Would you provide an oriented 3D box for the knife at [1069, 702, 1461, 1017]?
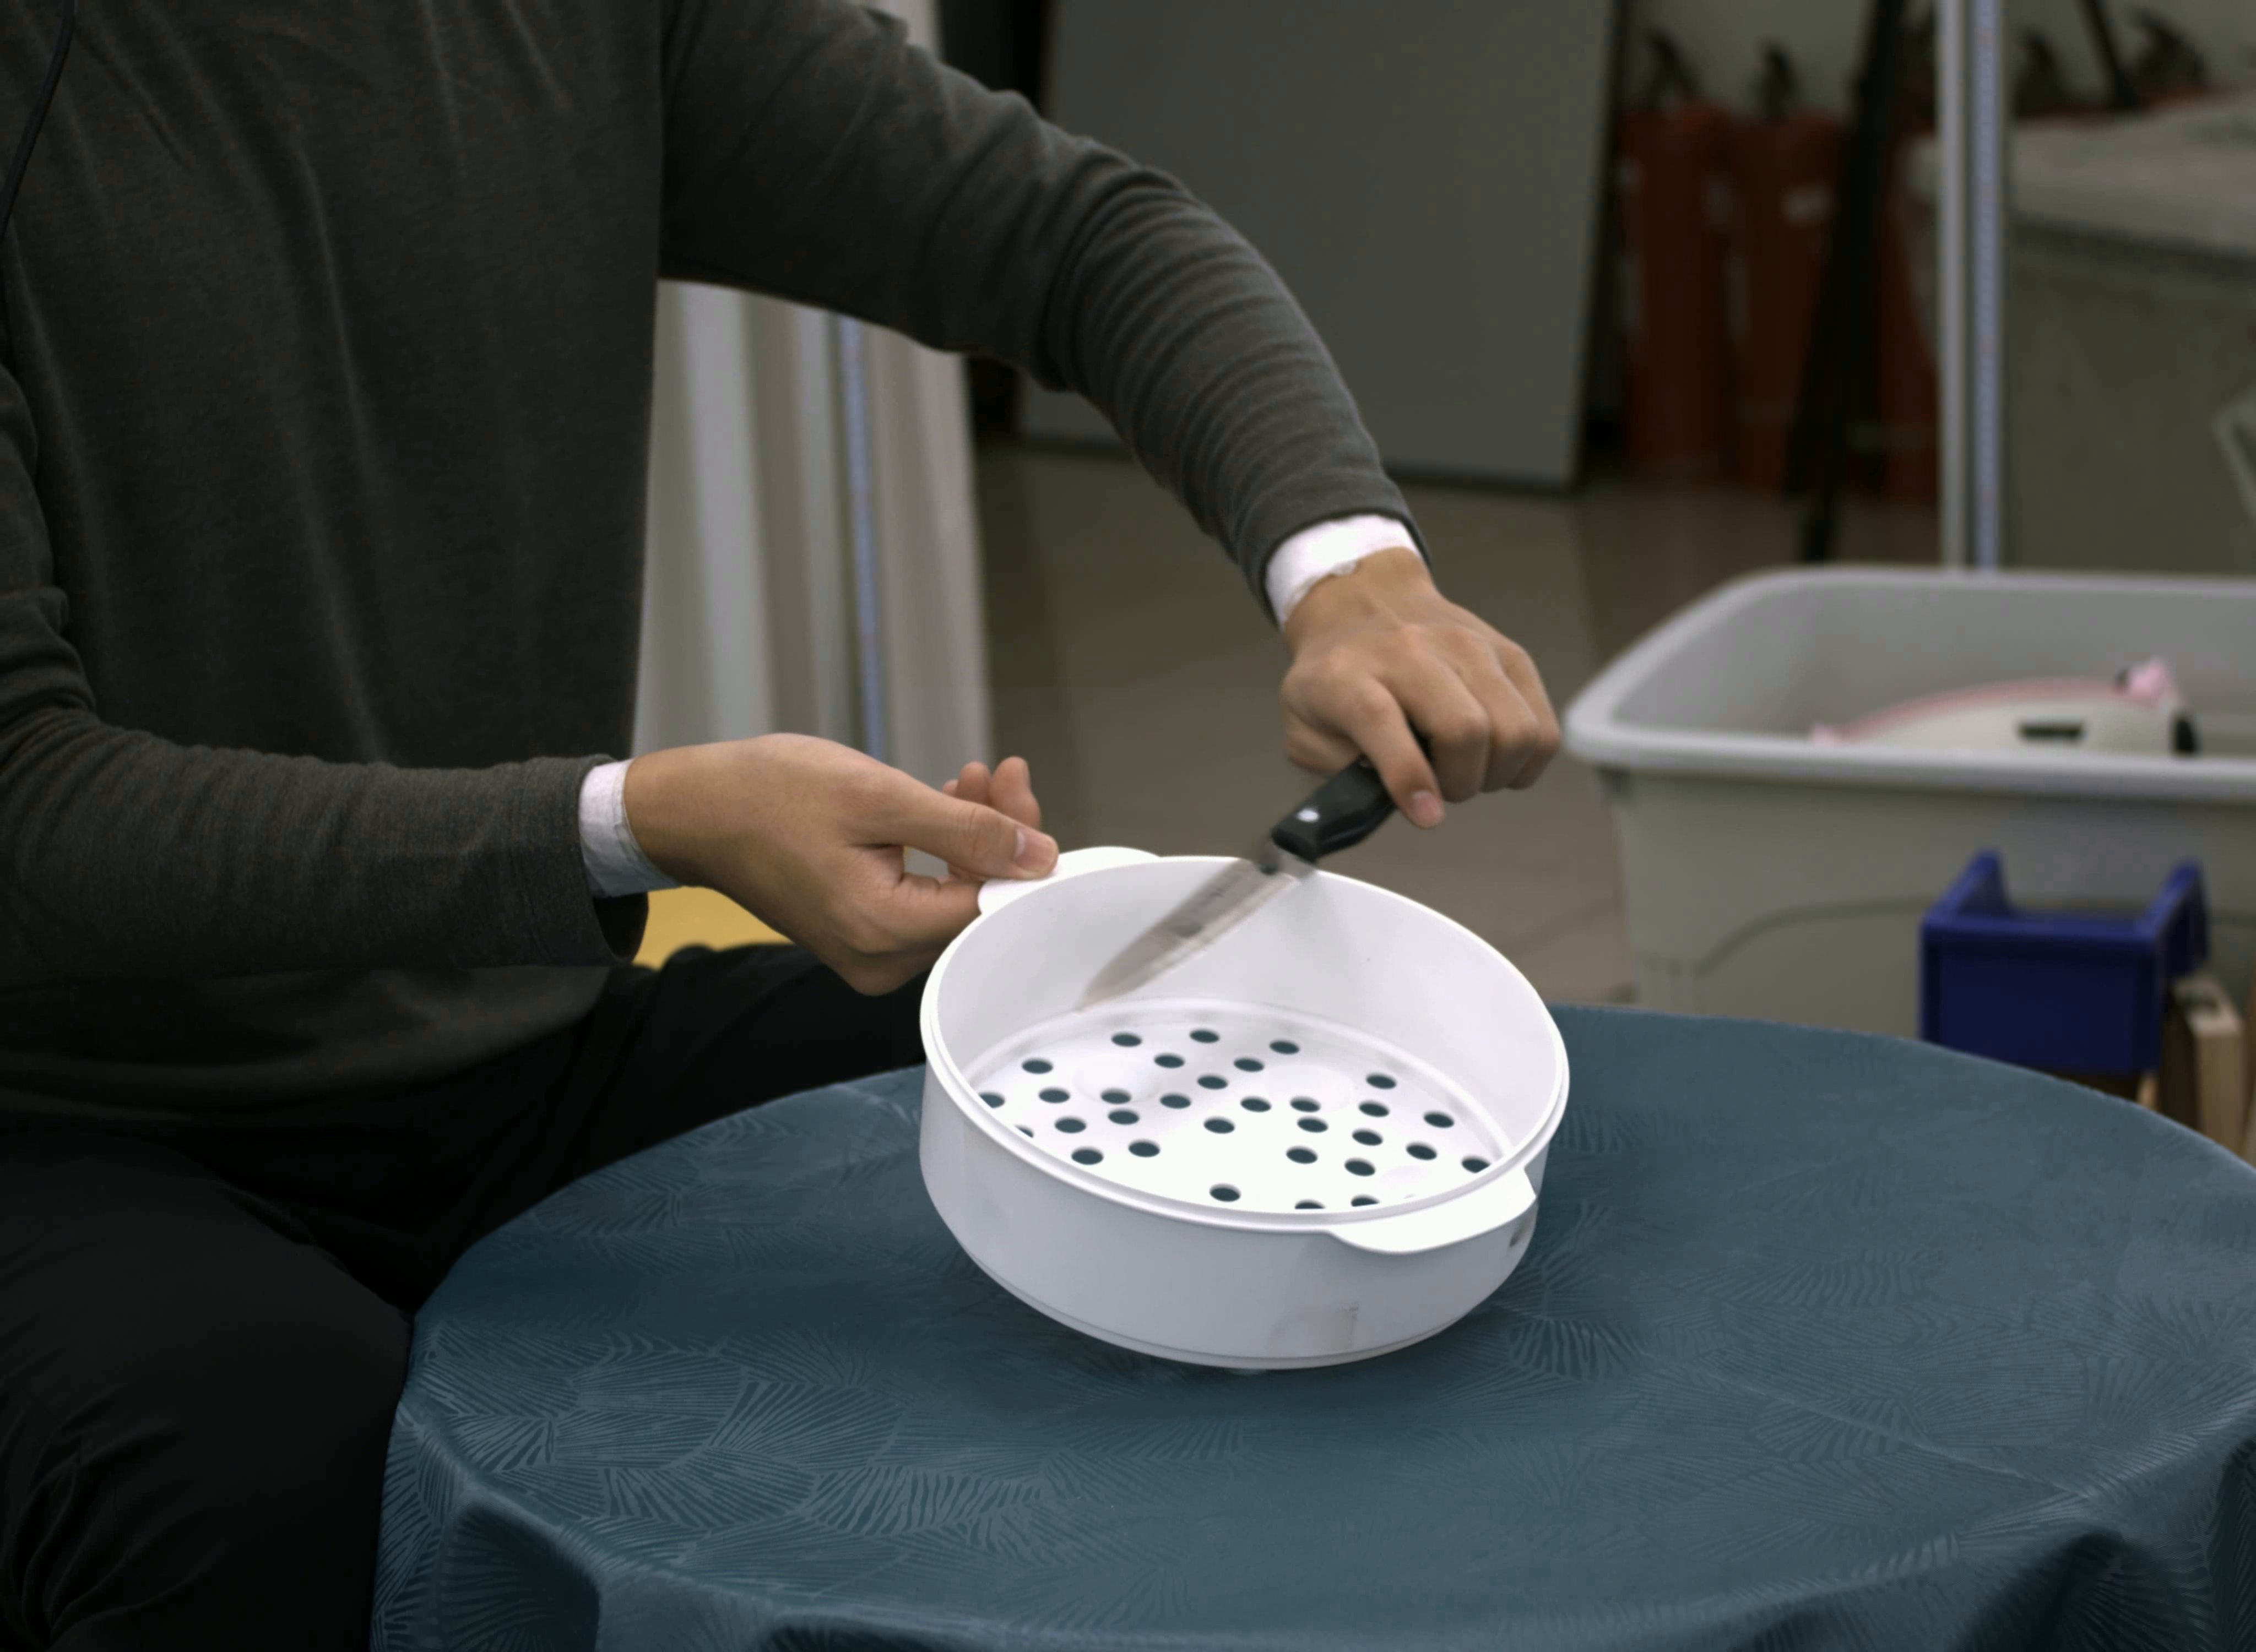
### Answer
[{"bbox_3d":[0.043,0.010,1.720,0.024,0.016,0.235,21,34,25],"label":"knife"}]

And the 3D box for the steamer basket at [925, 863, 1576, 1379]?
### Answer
[{"bbox_3d":[0.035,0.091,1.652,0.197,0.070,0.233,-15,35,-30],"label":"steamer basket"}]
